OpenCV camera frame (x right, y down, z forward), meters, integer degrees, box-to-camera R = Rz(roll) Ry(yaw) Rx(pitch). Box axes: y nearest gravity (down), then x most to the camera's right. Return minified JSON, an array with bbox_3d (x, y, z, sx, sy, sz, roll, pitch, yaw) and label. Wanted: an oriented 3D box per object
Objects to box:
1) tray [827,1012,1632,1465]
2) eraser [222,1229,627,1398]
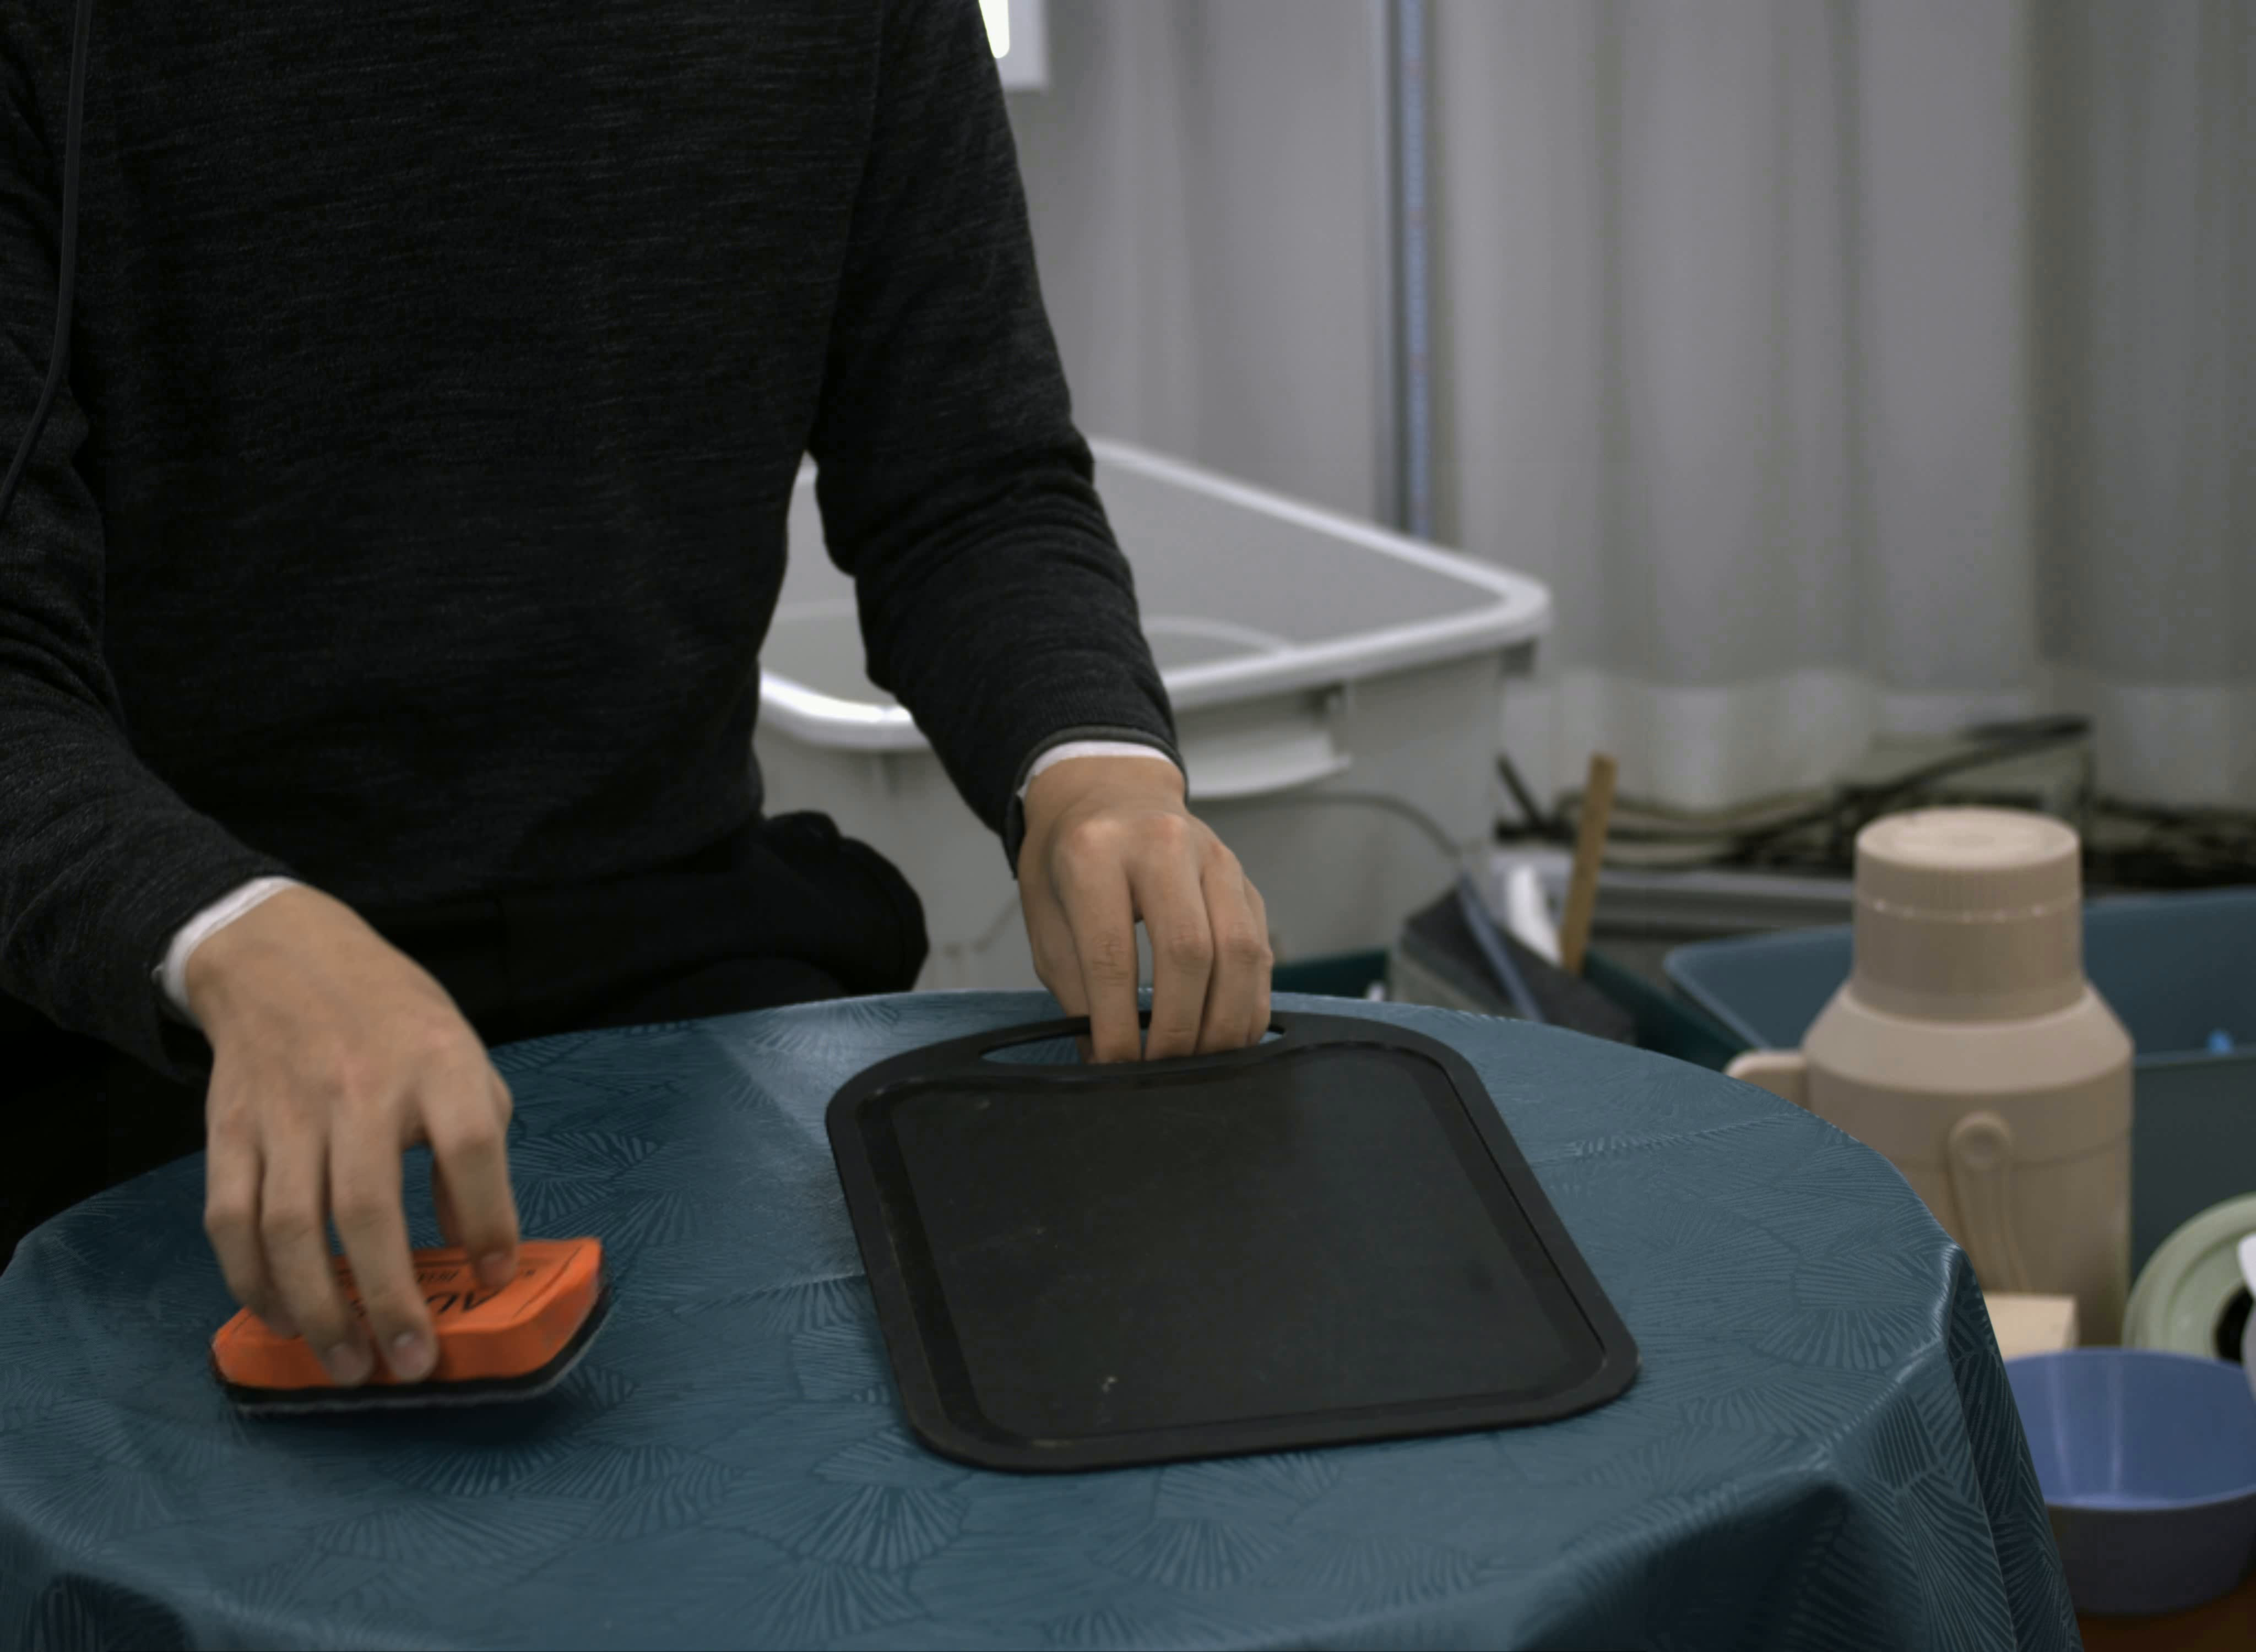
[{"bbox_3d":[0.021,0.115,1.645,0.210,0.010,0.328,-4,20,-7],"label":"tray"},{"bbox_3d":[-0.199,0.139,1.555,0.108,0.023,0.059,-6,19,26],"label":"eraser"}]
